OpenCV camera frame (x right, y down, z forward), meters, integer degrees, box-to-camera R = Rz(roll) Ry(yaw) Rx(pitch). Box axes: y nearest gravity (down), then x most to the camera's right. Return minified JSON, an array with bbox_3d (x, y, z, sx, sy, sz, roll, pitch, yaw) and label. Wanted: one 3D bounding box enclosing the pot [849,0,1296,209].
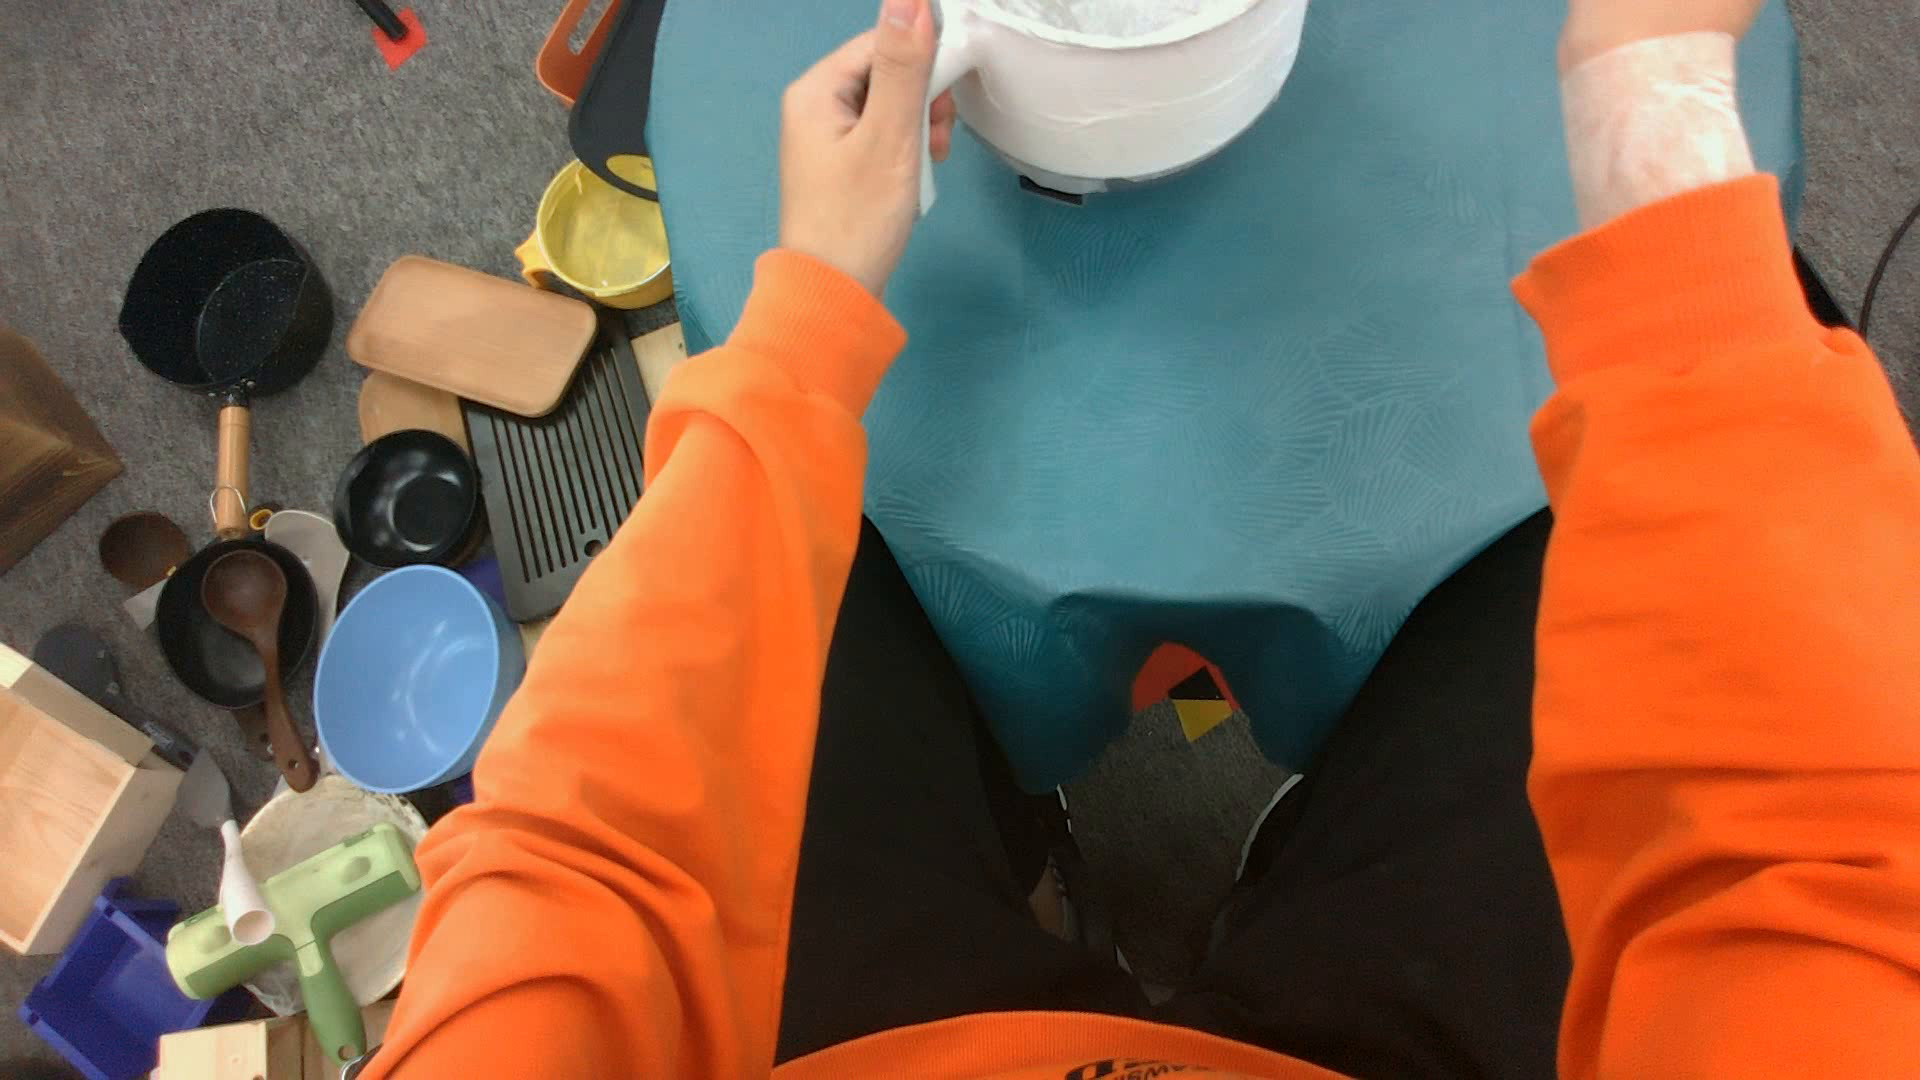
[{"bbox_3d":[0.045,-0.245,0.613,0.234,0.136,0.179,-42,77,-8],"label":"pot"}]
